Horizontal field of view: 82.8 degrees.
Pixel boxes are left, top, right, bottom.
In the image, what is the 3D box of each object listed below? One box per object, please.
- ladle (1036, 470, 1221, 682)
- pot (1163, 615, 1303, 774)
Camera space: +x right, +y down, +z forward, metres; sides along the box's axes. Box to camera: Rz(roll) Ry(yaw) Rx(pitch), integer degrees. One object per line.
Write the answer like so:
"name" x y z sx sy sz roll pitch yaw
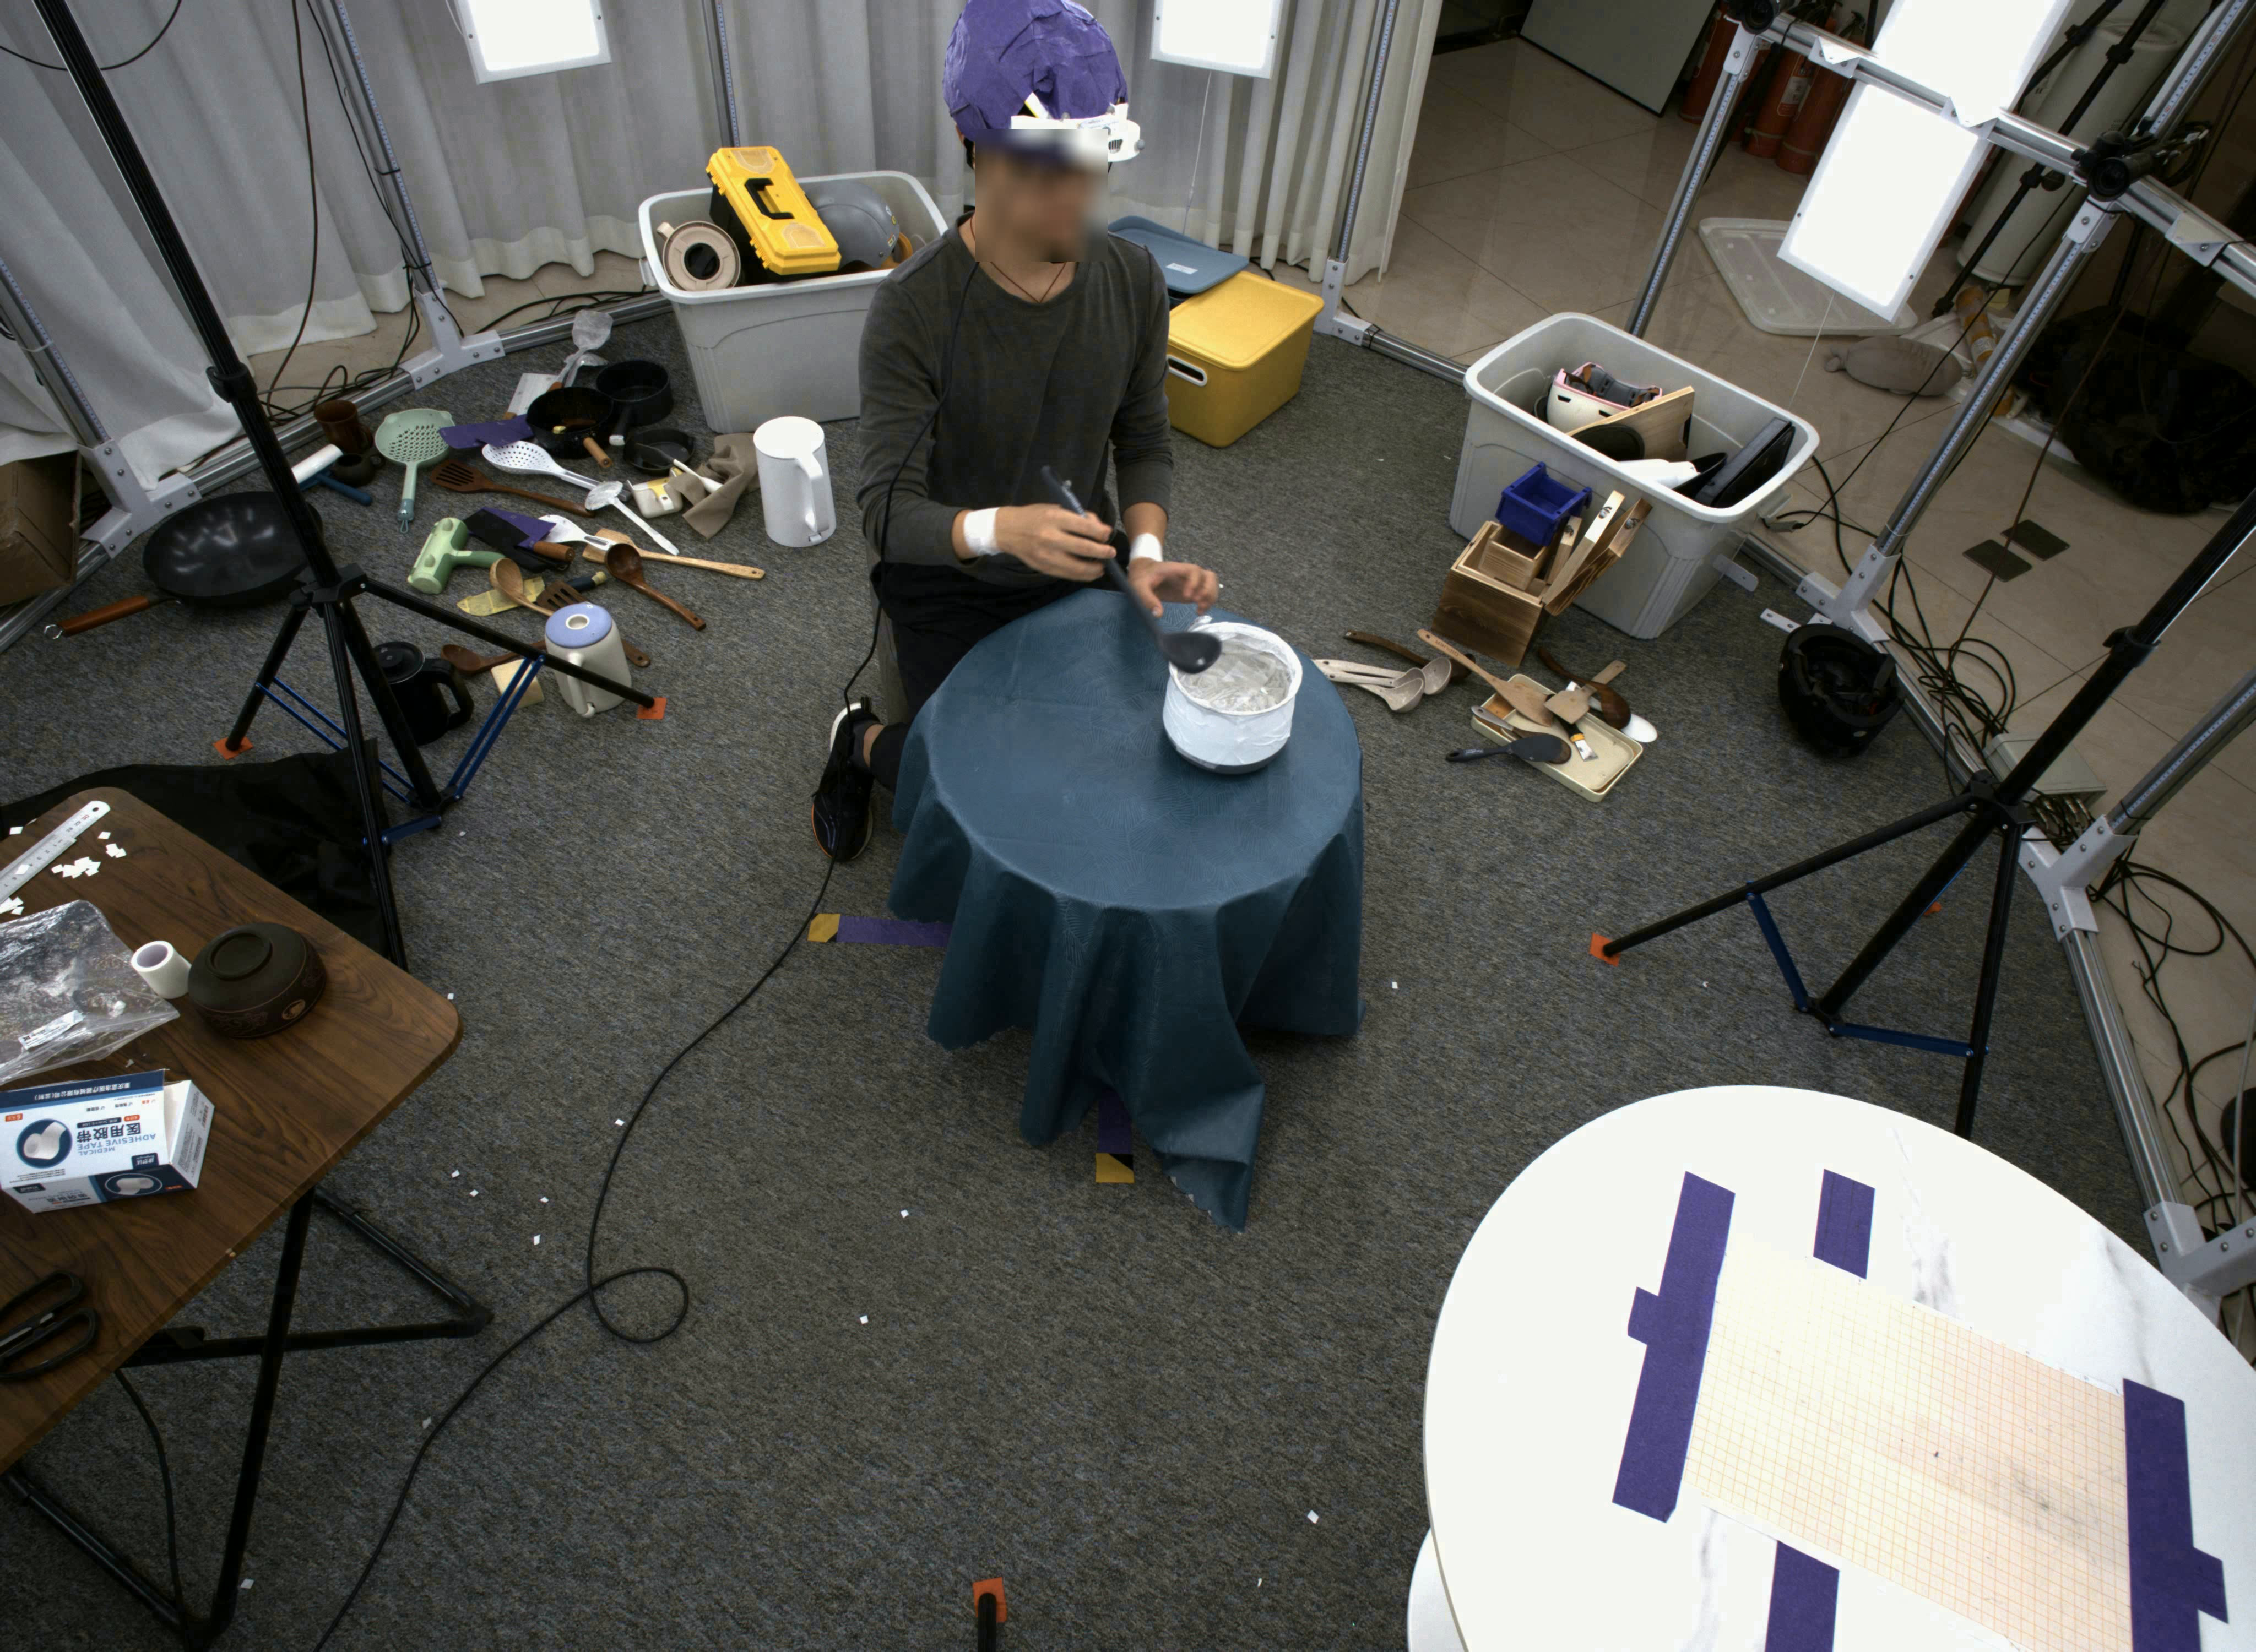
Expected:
"ladle" 0.002 -0.303 1.539 0.063 0.310 0.088 -26 20 29
"pot" 0.128 -0.189 1.751 0.179 0.133 0.239 -15 52 -17
